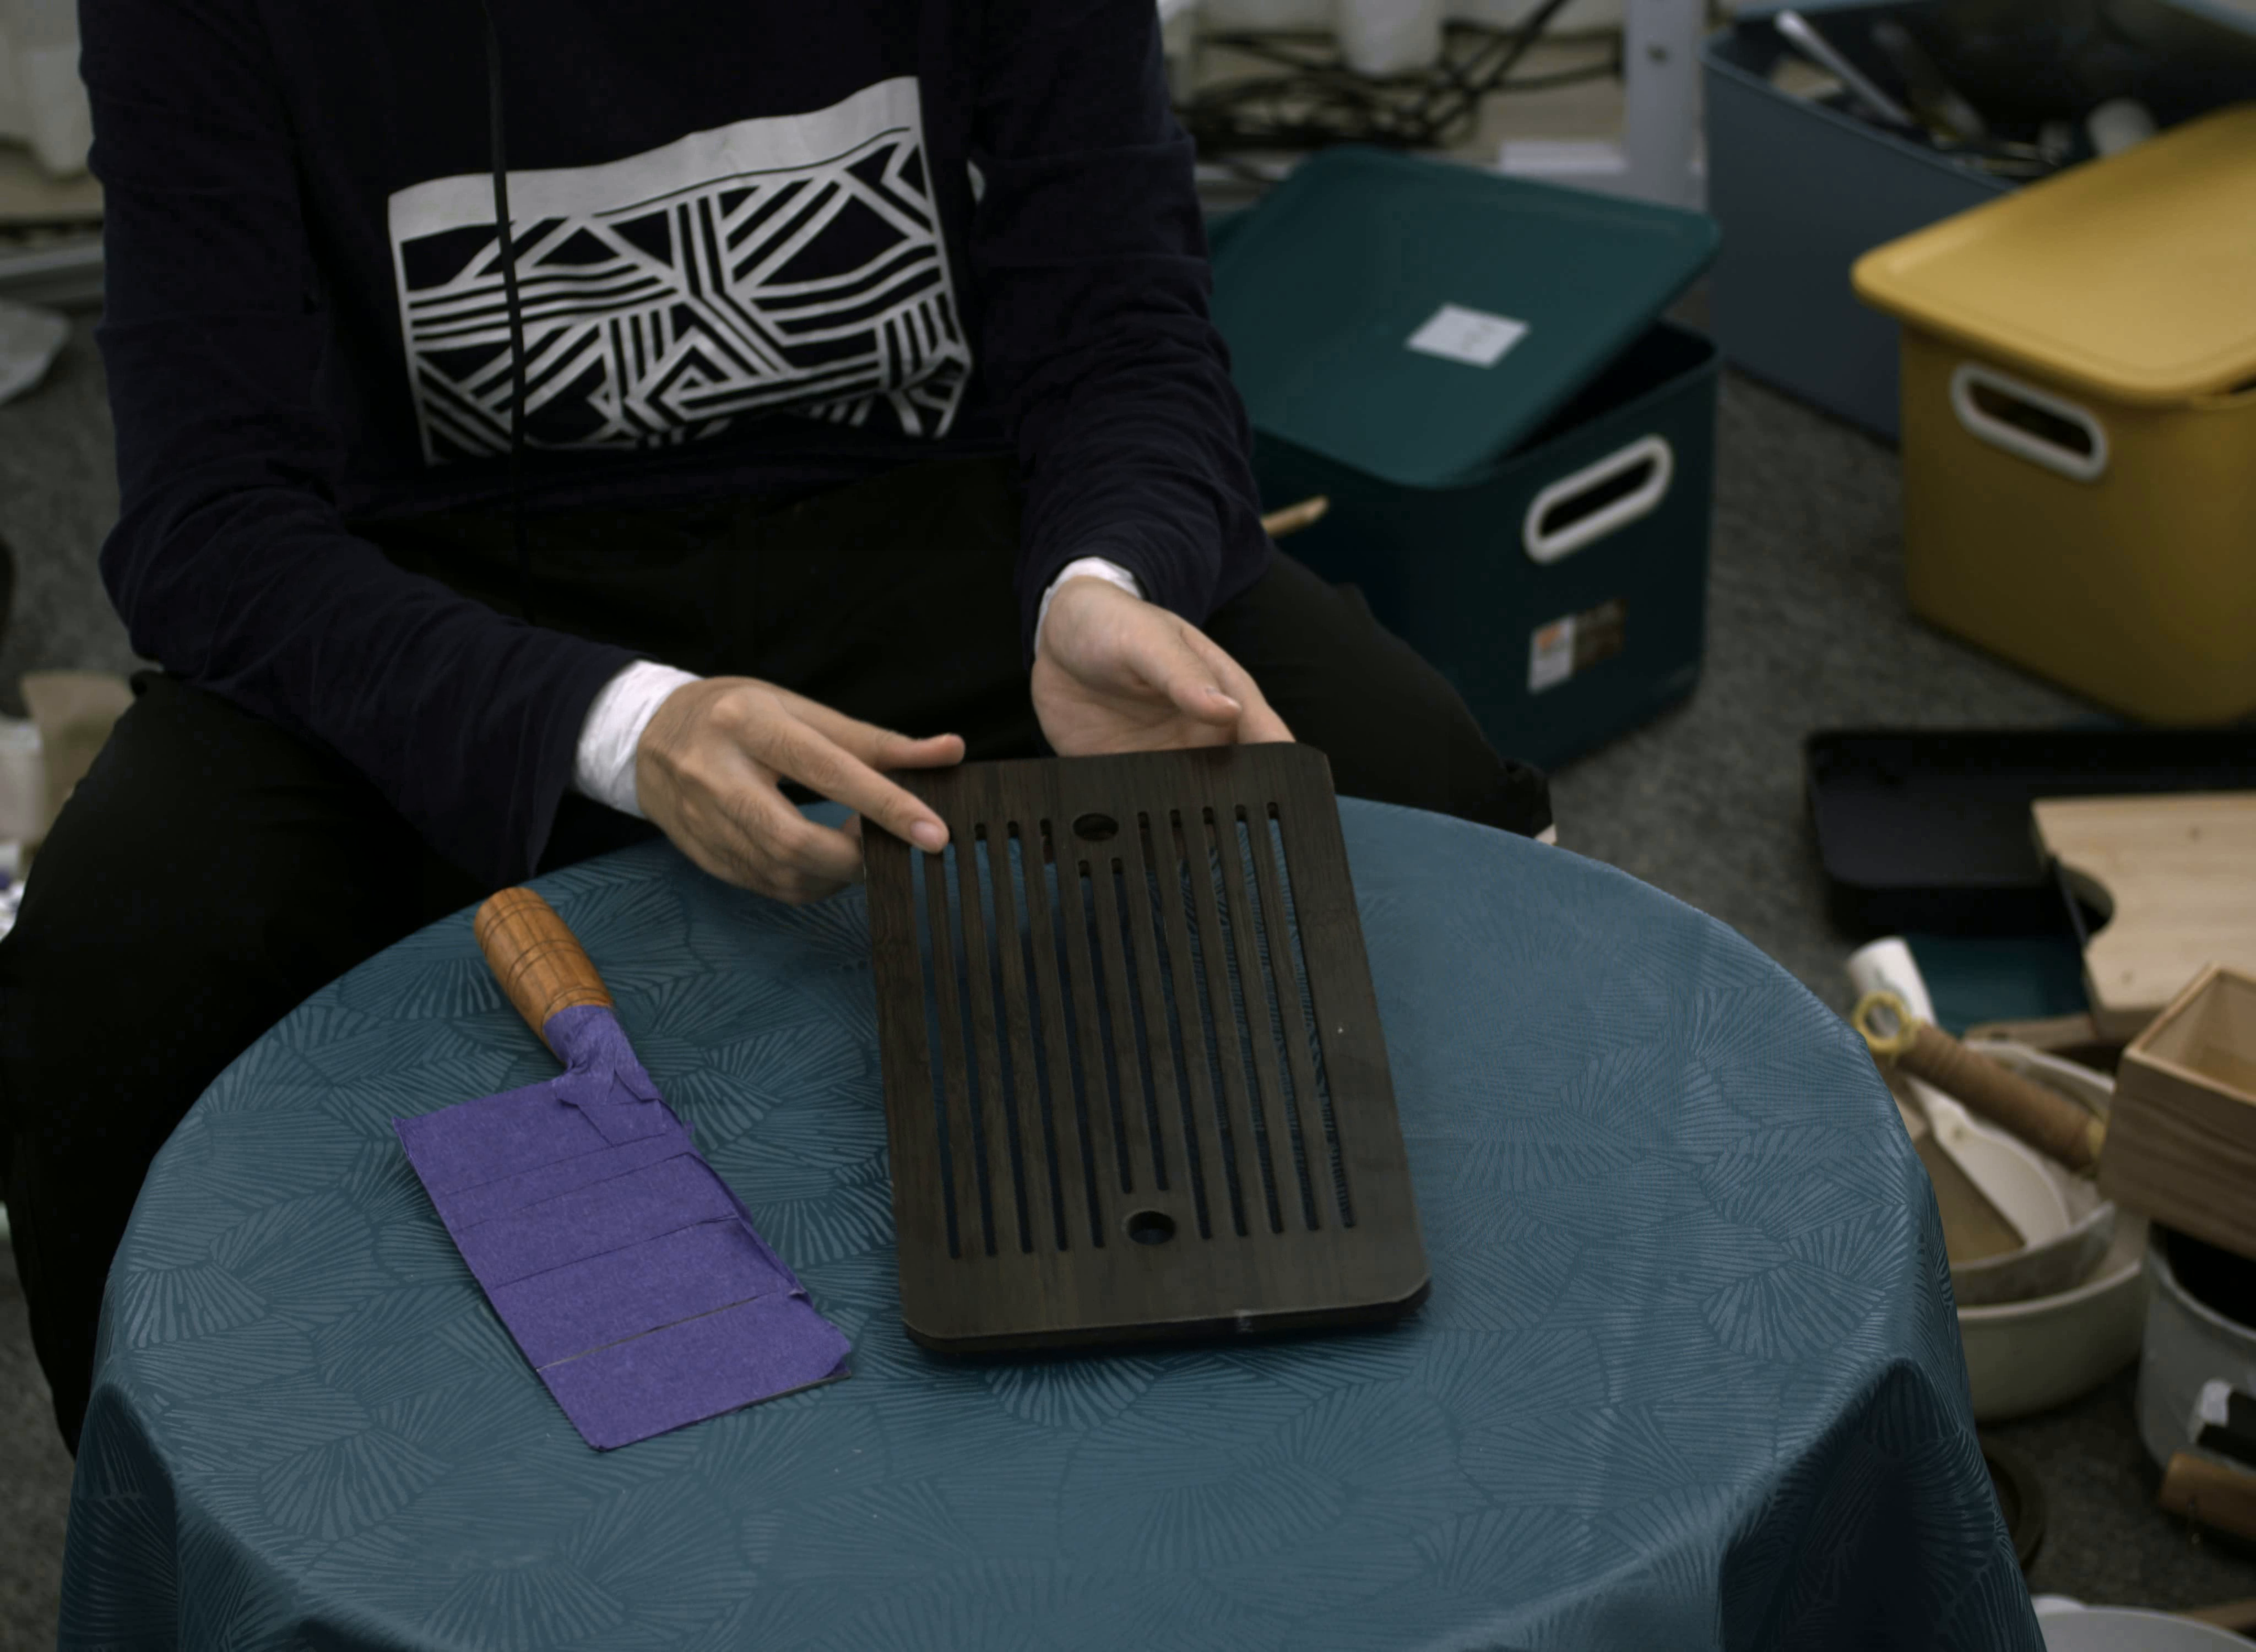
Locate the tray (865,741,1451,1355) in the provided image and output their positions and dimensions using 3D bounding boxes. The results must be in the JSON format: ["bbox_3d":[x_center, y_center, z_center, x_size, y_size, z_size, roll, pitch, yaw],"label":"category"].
[{"bbox_3d":[0.004,0.071,1.892,0.169,0.018,0.311,-4,36,-4],"label":"tray"}]

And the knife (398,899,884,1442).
[{"bbox_3d":[-0.187,0.110,1.872,0.104,0.032,0.317,-14,30,-21],"label":"knife"}]
